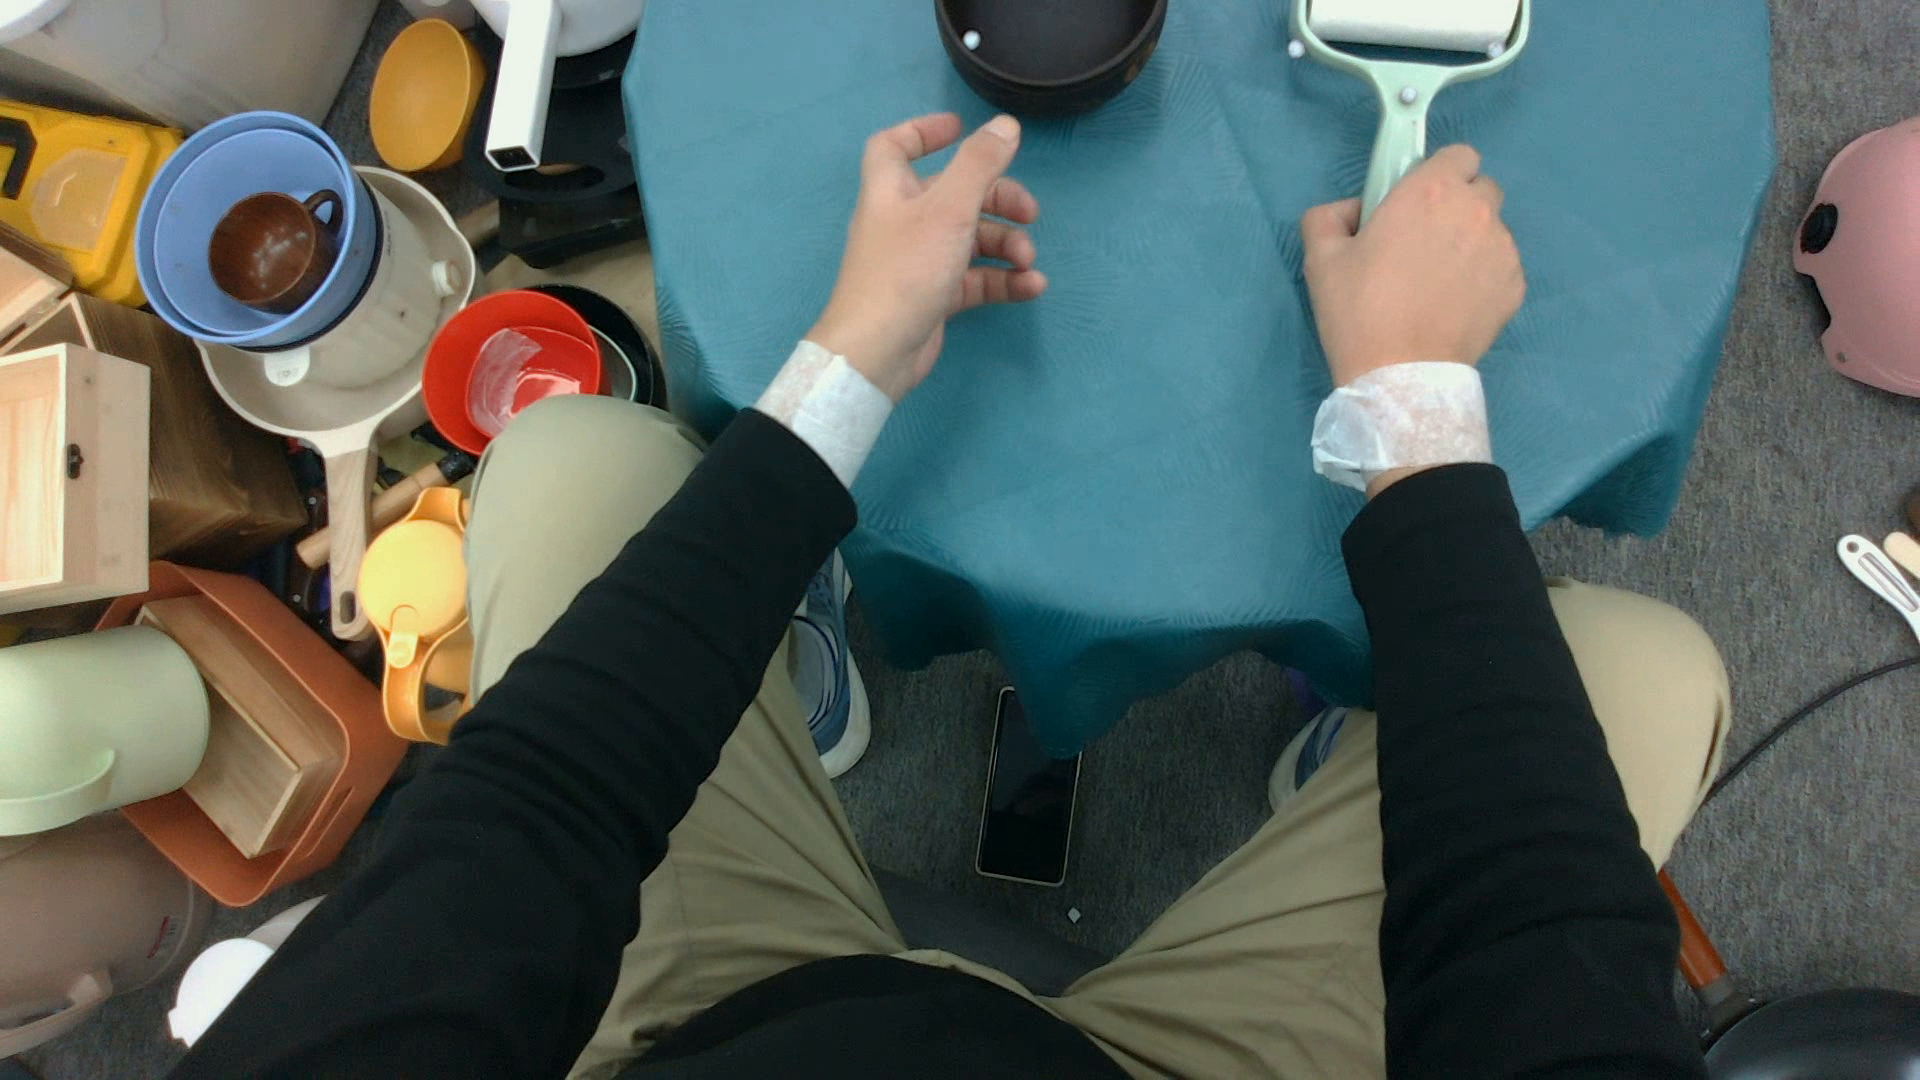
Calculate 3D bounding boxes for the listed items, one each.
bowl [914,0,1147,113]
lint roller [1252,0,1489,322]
[{"bbox_3d":[0.036,-0.275,0.708,0.118,0.070,0.118,0,82,2],"label":"bowl"},{"bbox_3d":[0.203,-0.211,0.702,0.116,0.048,0.198,6,83,3],"label":"lint roller"}]
